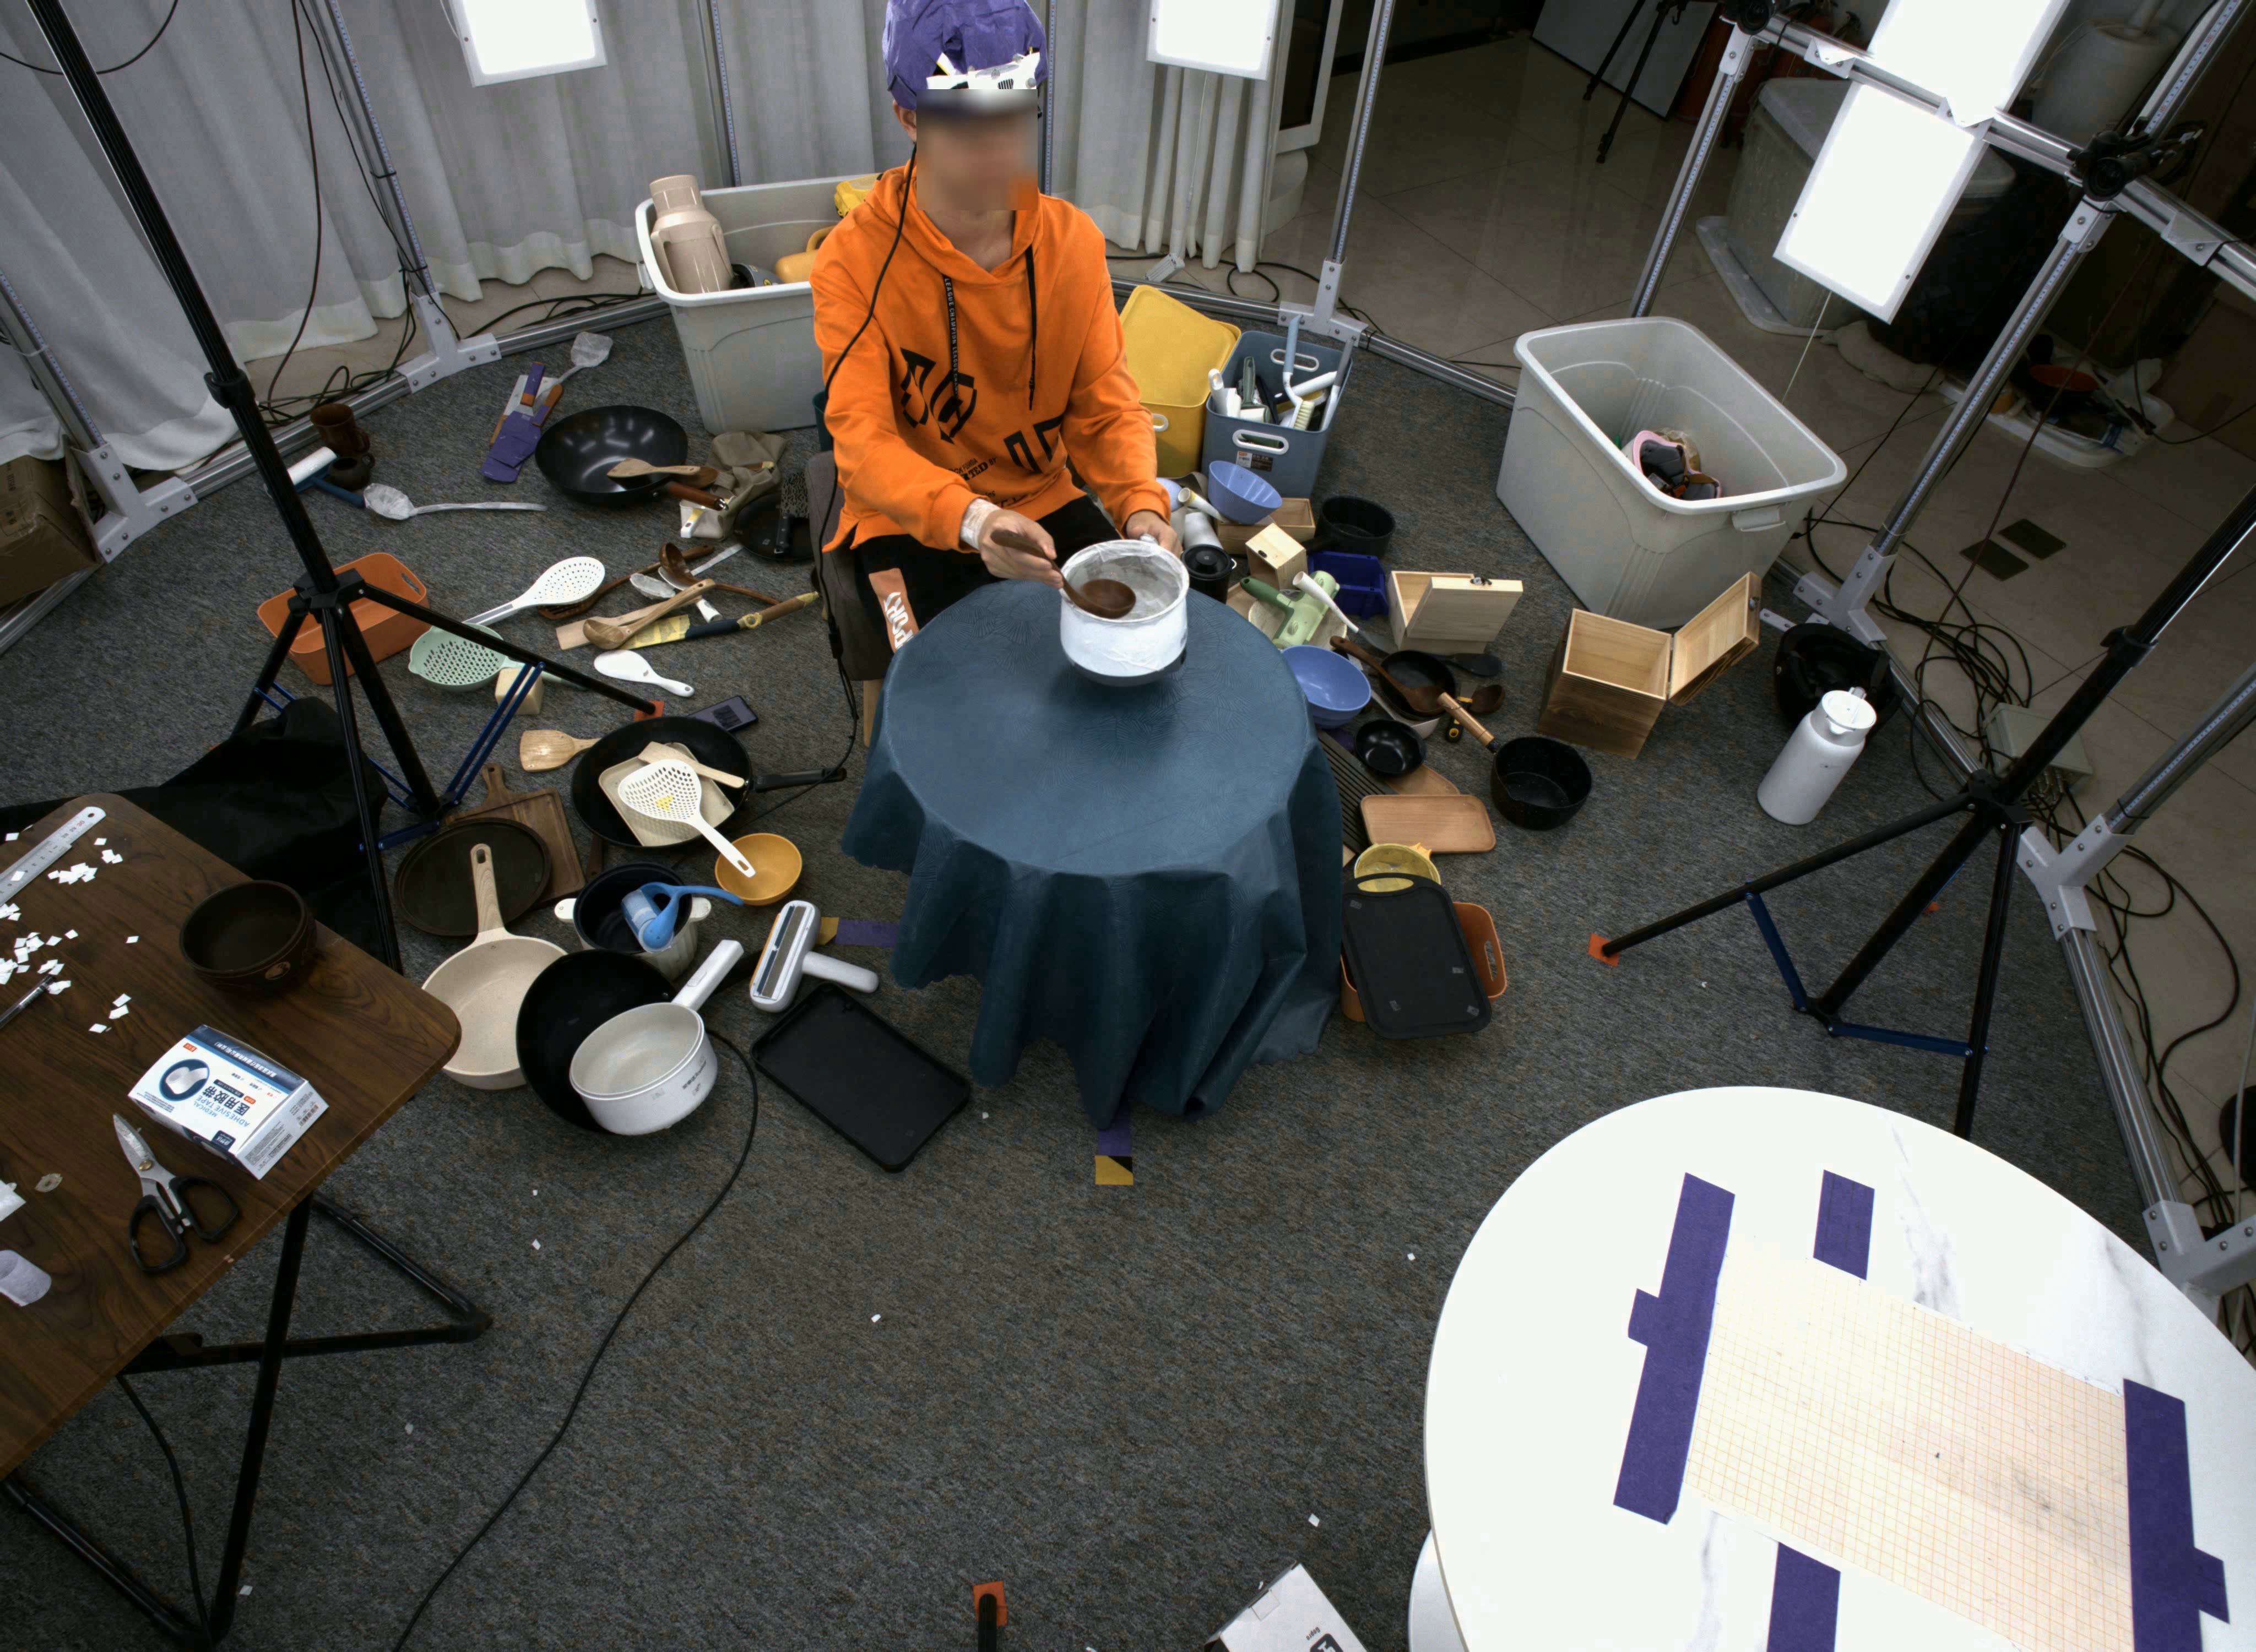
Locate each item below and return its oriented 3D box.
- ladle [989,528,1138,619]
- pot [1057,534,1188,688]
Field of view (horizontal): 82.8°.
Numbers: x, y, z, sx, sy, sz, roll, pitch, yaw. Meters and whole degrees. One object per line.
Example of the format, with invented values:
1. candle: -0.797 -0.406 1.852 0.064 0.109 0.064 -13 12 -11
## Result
1. ladle: -0.078 -0.333 1.654 0.065 0.256 0.078 -50 52 8
2. pot: 0.000 -0.309 1.793 0.179 0.133 0.238 13 49 11
